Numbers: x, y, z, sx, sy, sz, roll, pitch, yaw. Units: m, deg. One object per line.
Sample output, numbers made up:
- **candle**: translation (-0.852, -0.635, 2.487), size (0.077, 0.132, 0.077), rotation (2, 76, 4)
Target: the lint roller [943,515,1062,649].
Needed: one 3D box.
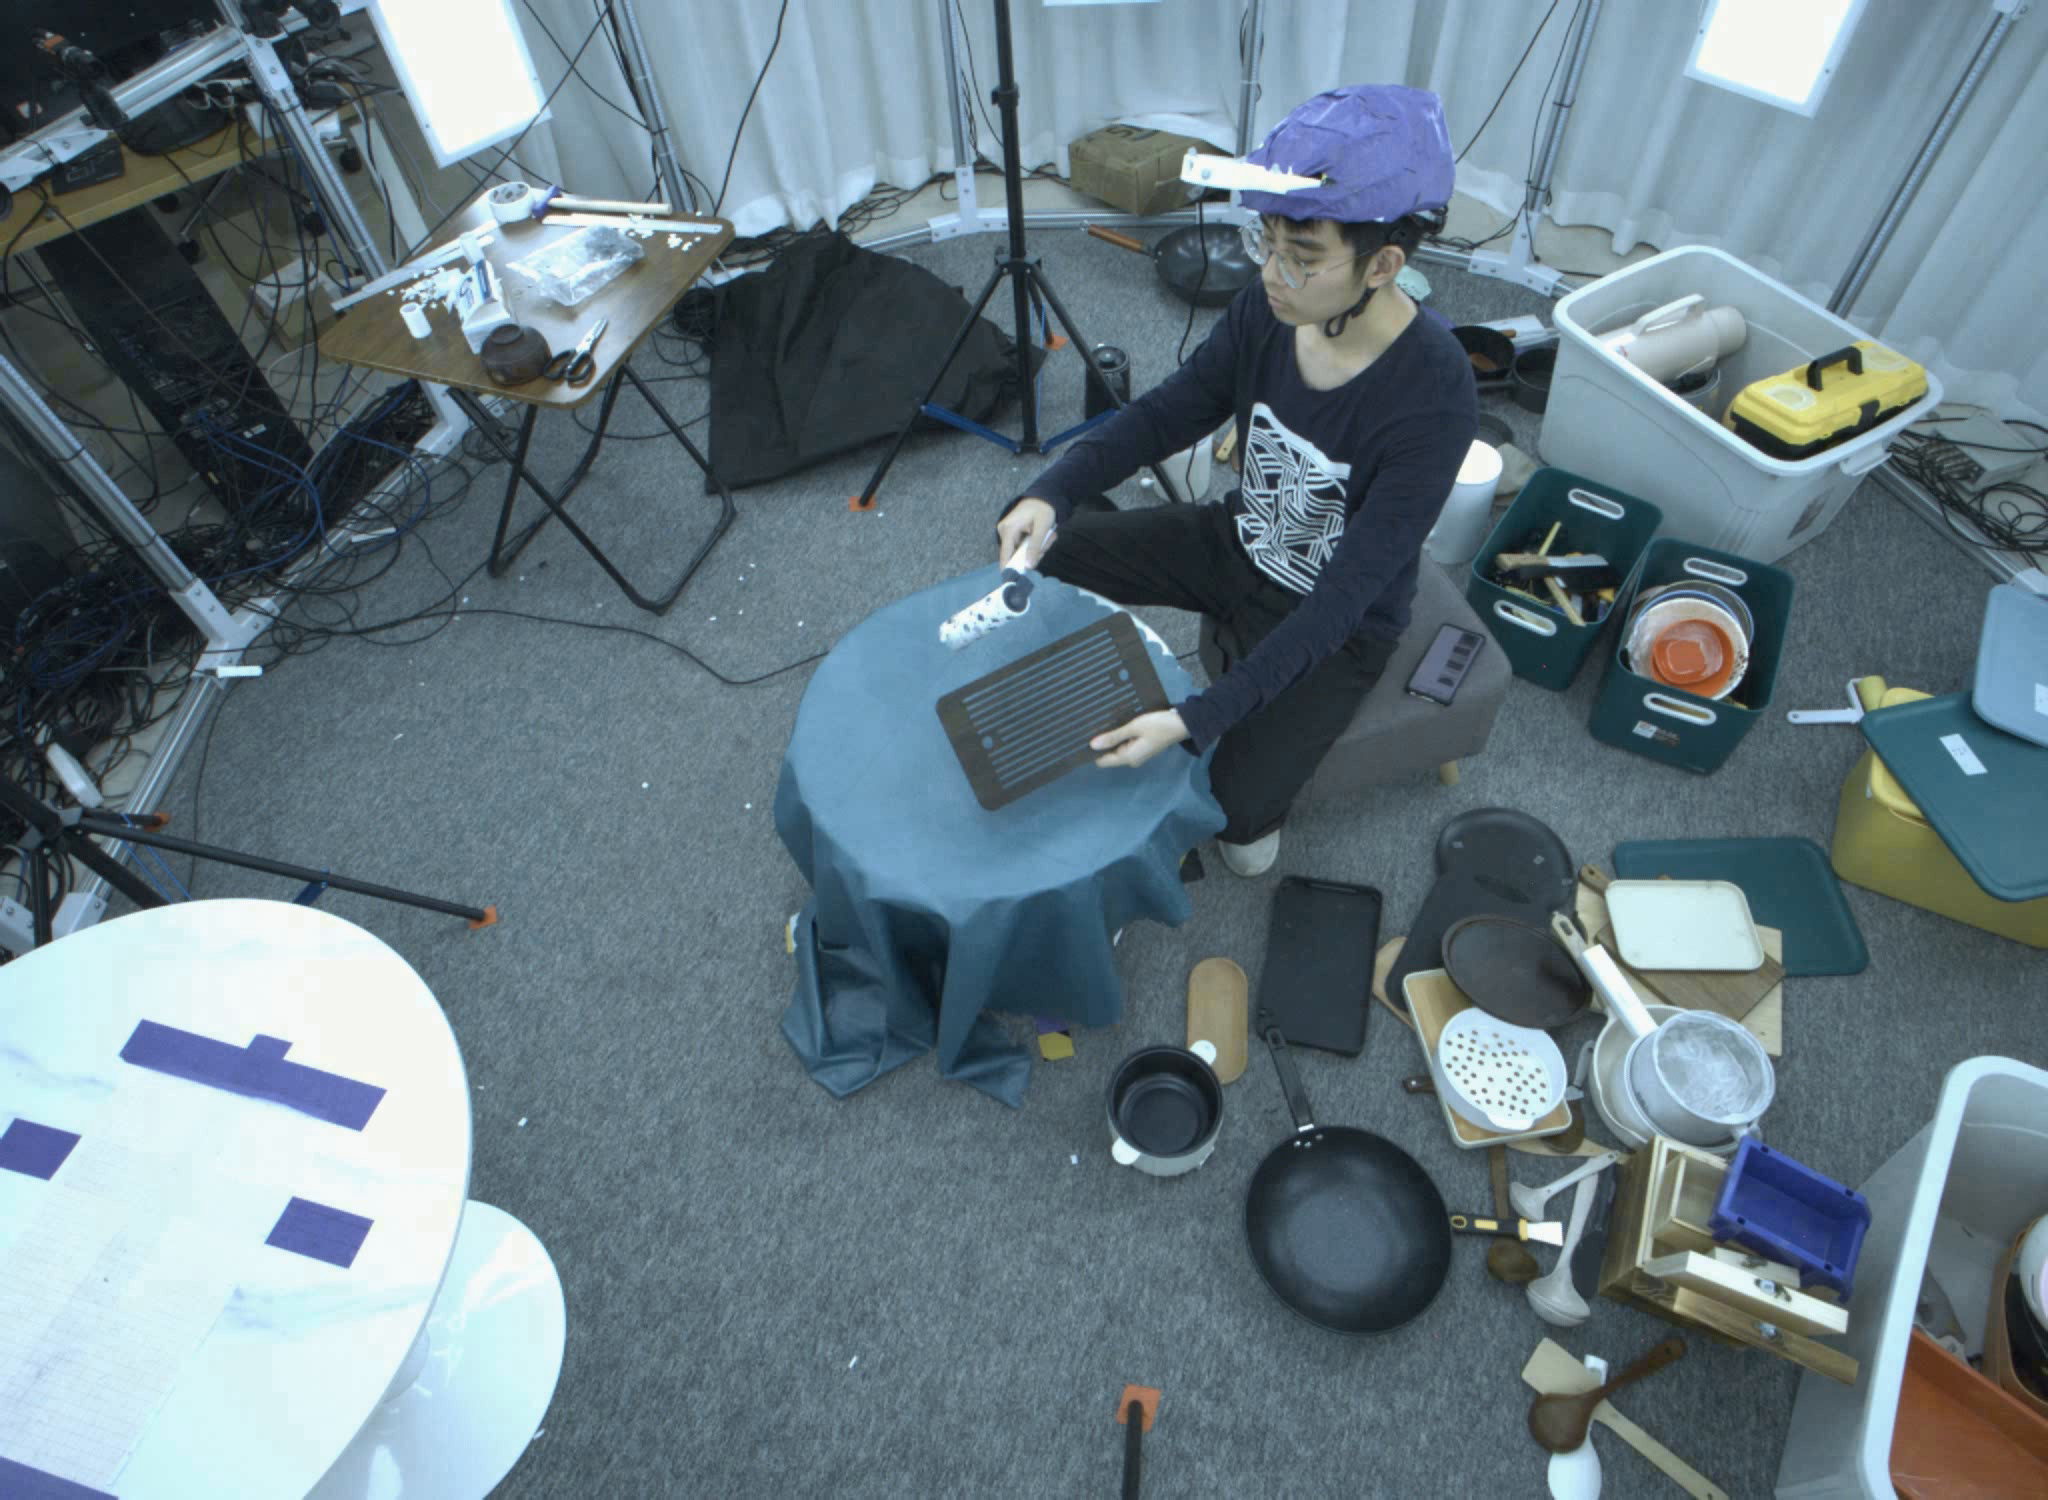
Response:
- **lint roller**: translation (-0.013, -0.261, 1.765), size (0.051, 0.173, 0.247), rotation (41, 56, -17)

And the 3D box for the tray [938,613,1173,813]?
- **tray**: translation (0.047, -0.053, 1.686), size (0.308, 0.018, 0.171), rotation (-27, 99, -16)
